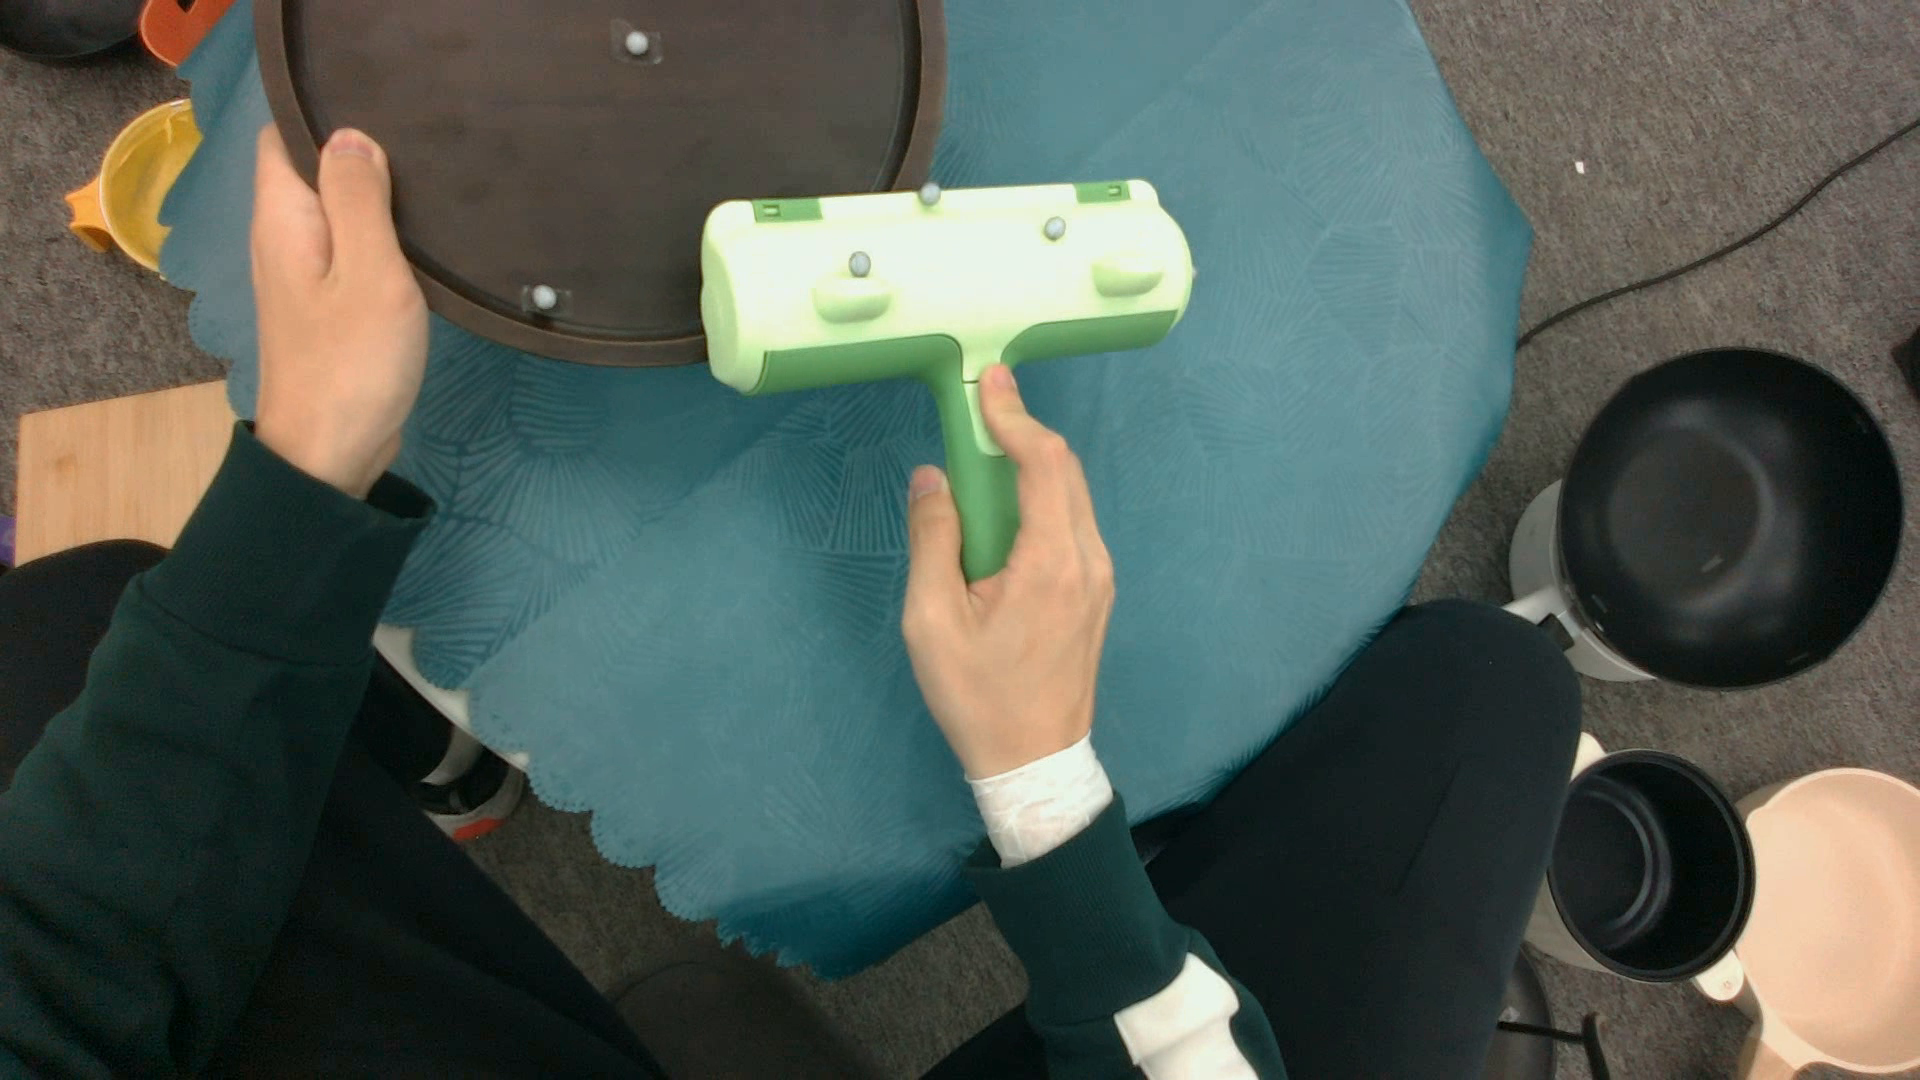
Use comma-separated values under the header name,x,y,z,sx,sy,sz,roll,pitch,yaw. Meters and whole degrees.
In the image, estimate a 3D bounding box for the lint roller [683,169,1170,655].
name,x,y,z,sx,sy,sz,roll,pitch,yaw
lint roller,0.008,-0.049,0.523,0.199,0.082,0.183,-12,84,-28

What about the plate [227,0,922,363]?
name,x,y,z,sx,sy,sz,roll,pitch,yaw
plate,-0.139,-0.194,0.526,0.255,0.029,0.254,0,91,-16
